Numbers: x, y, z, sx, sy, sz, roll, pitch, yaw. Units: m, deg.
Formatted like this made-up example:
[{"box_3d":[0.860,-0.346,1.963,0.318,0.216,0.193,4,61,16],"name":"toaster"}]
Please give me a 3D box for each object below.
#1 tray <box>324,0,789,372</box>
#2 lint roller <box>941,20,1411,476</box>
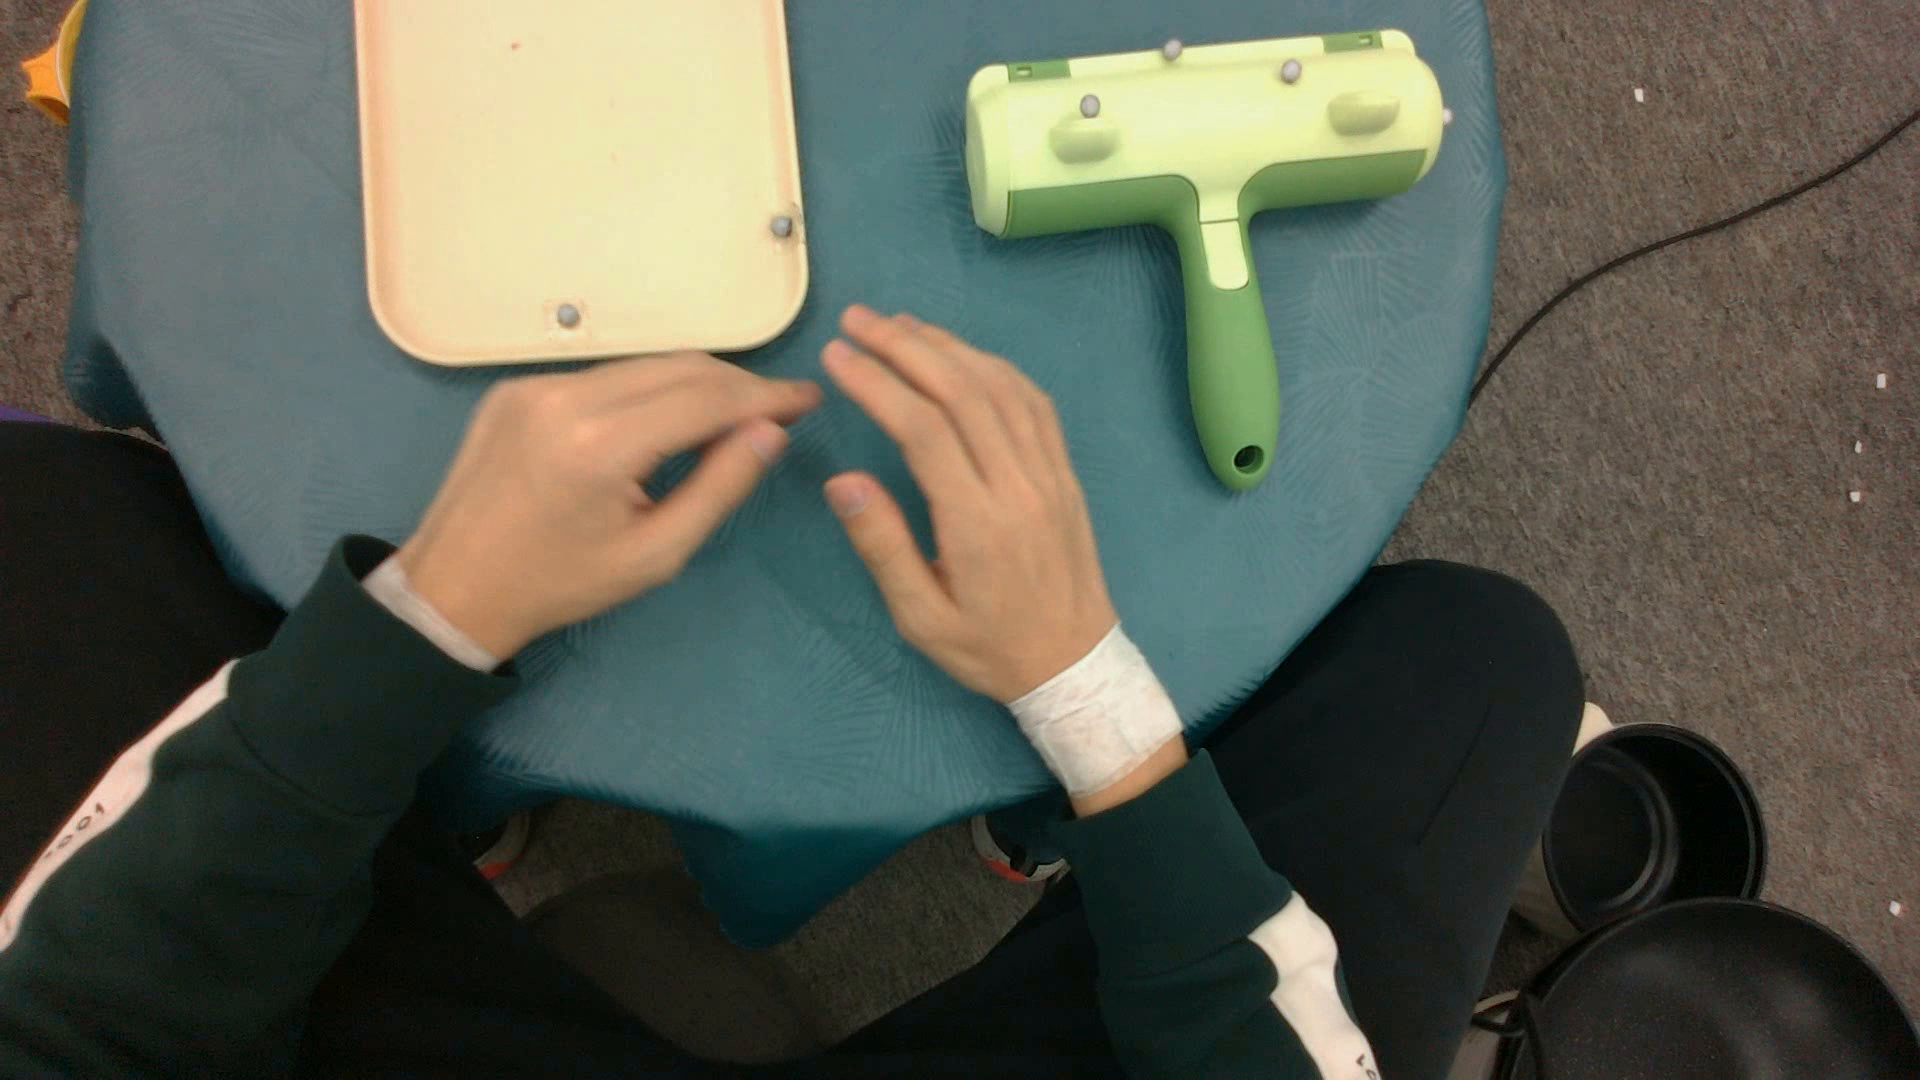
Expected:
[{"box_3d":[-0.167,-0.190,0.565,0.171,0.017,0.240,-7,84,-9],"name":"tray"},{"box_3d":[0.102,-0.122,0.567,0.199,0.082,0.183,-9,80,-10],"name":"lint roller"}]
